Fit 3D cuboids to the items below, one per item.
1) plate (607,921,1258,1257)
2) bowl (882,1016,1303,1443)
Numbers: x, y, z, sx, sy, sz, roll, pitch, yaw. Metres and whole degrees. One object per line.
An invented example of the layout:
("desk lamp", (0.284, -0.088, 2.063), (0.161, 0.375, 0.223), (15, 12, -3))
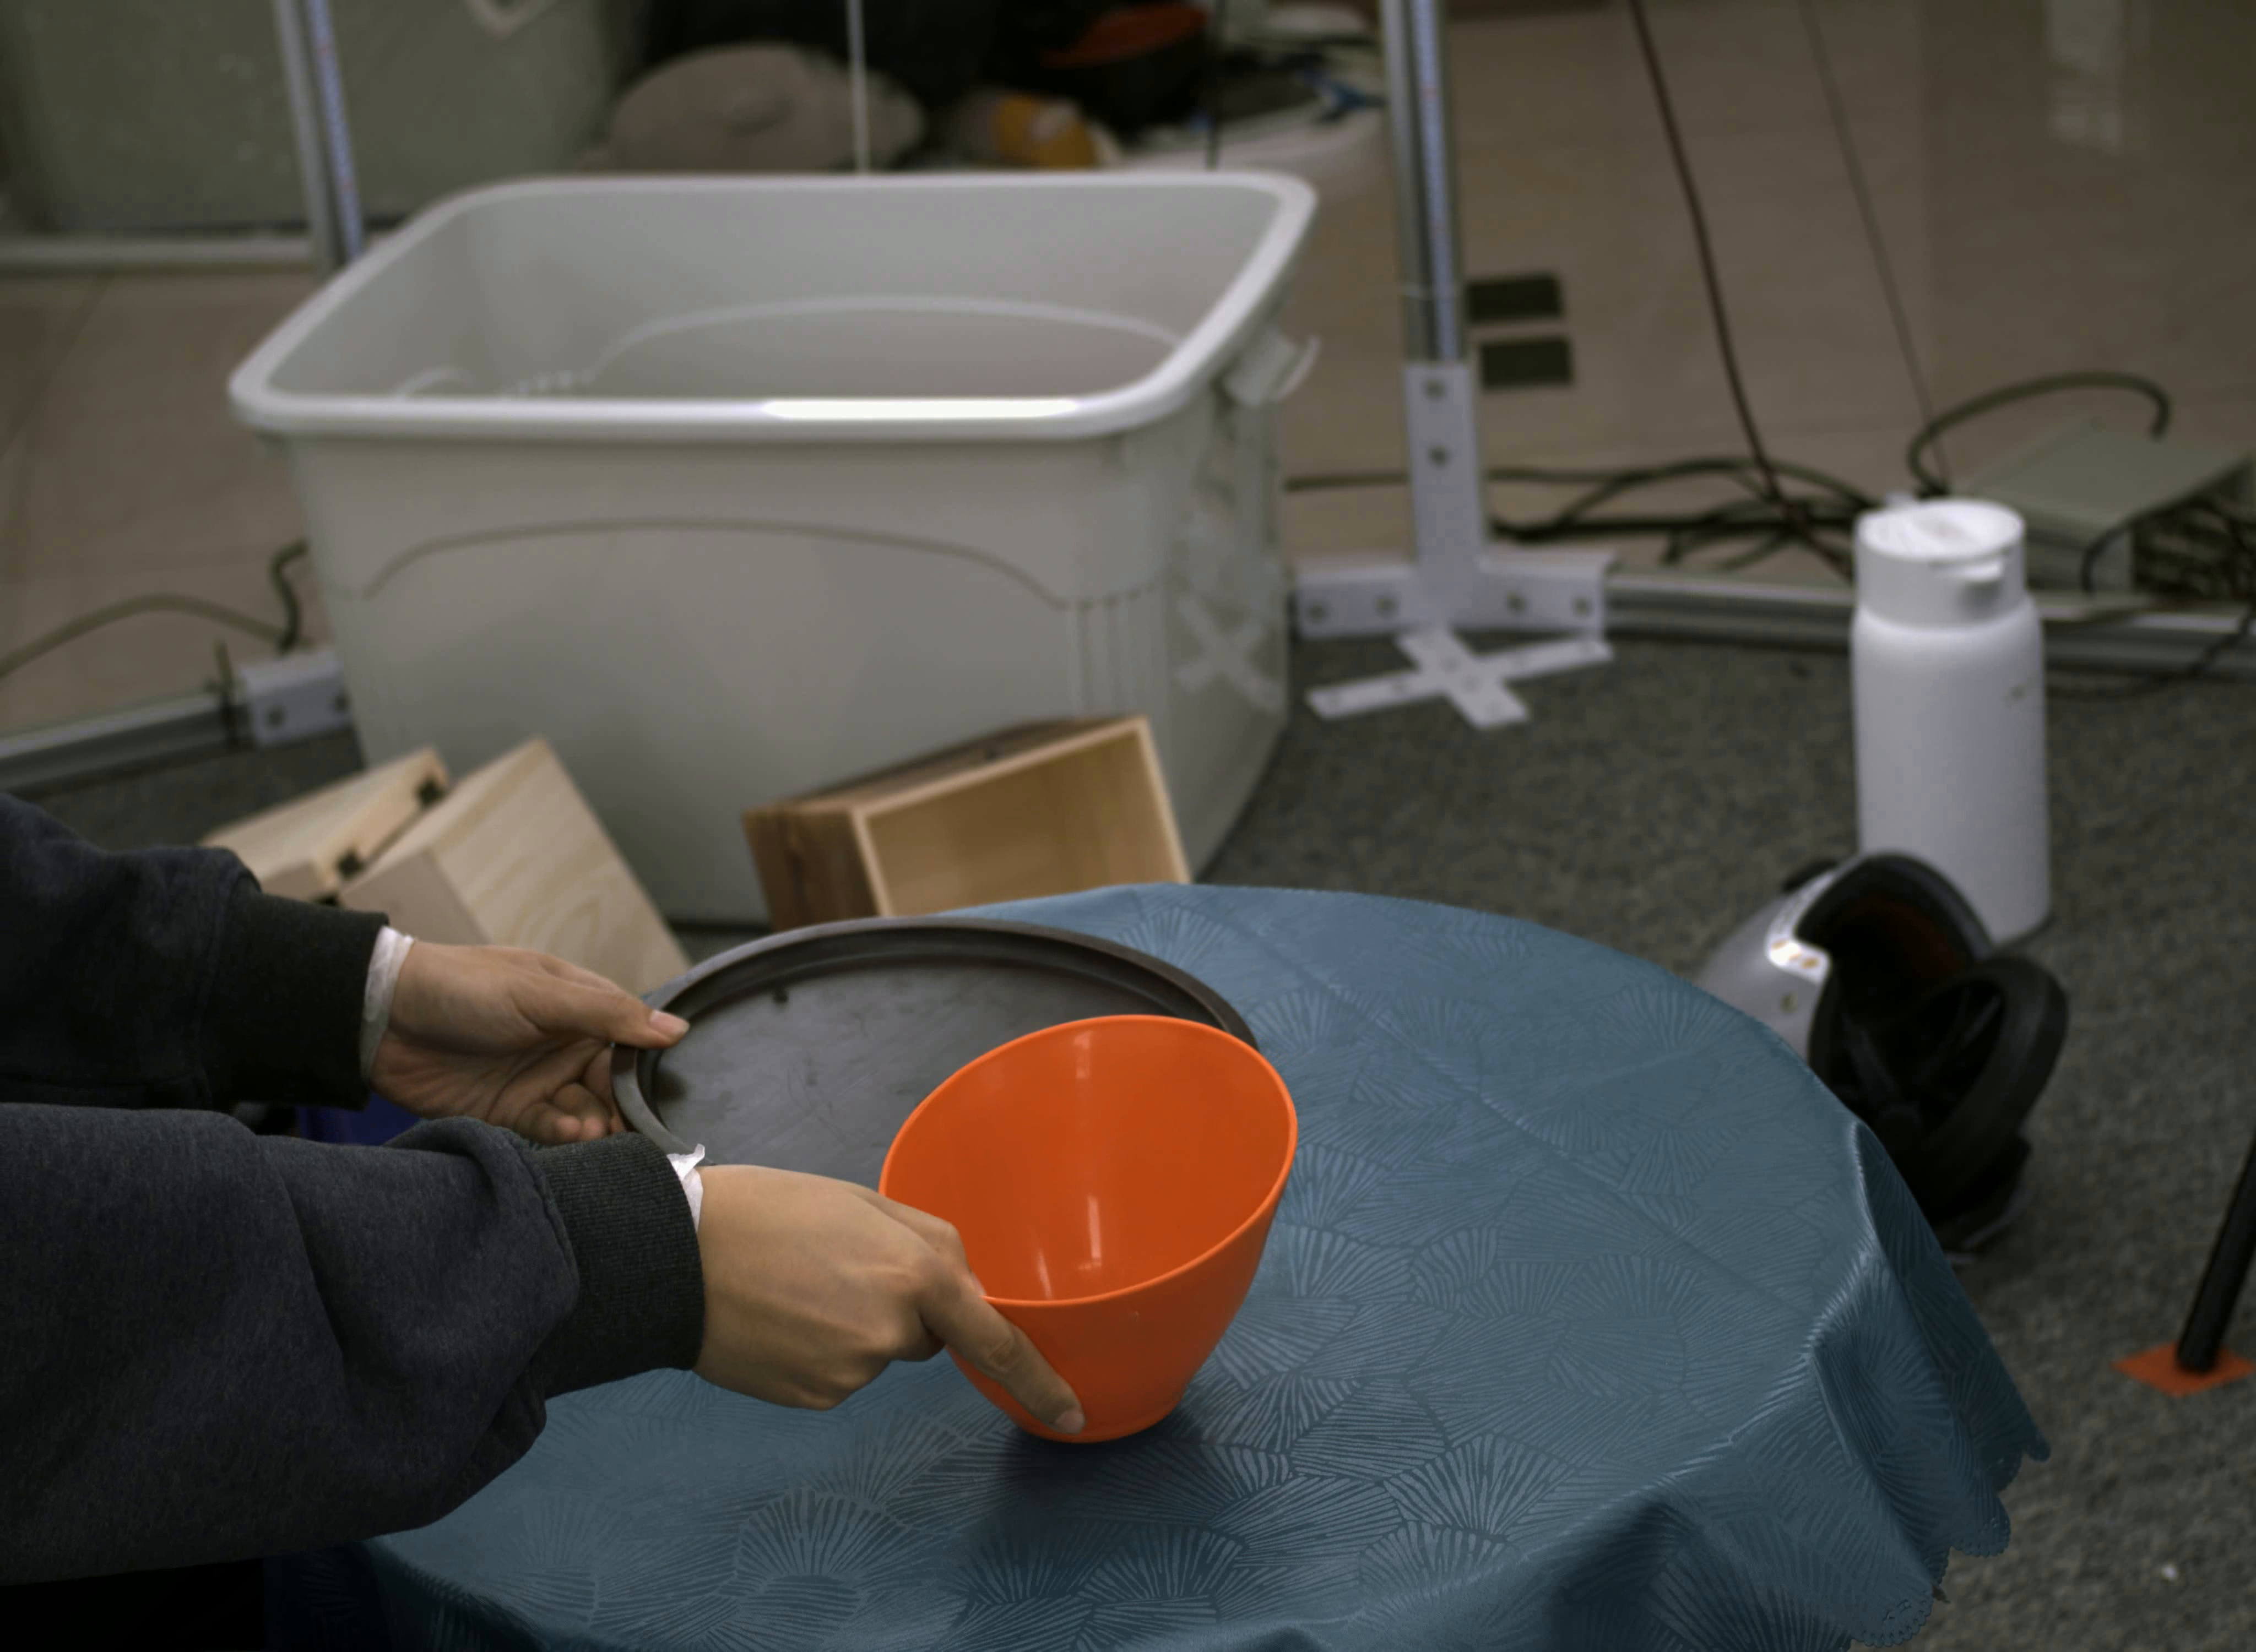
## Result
("plate", (-0.074, 0.100, 2.188), (0.254, 0.029, 0.251), (2, 27, -1))
("bowl", (-0.009, 0.149, 1.981), (0.148, 0.106, 0.145), (-4, 31, 3))
